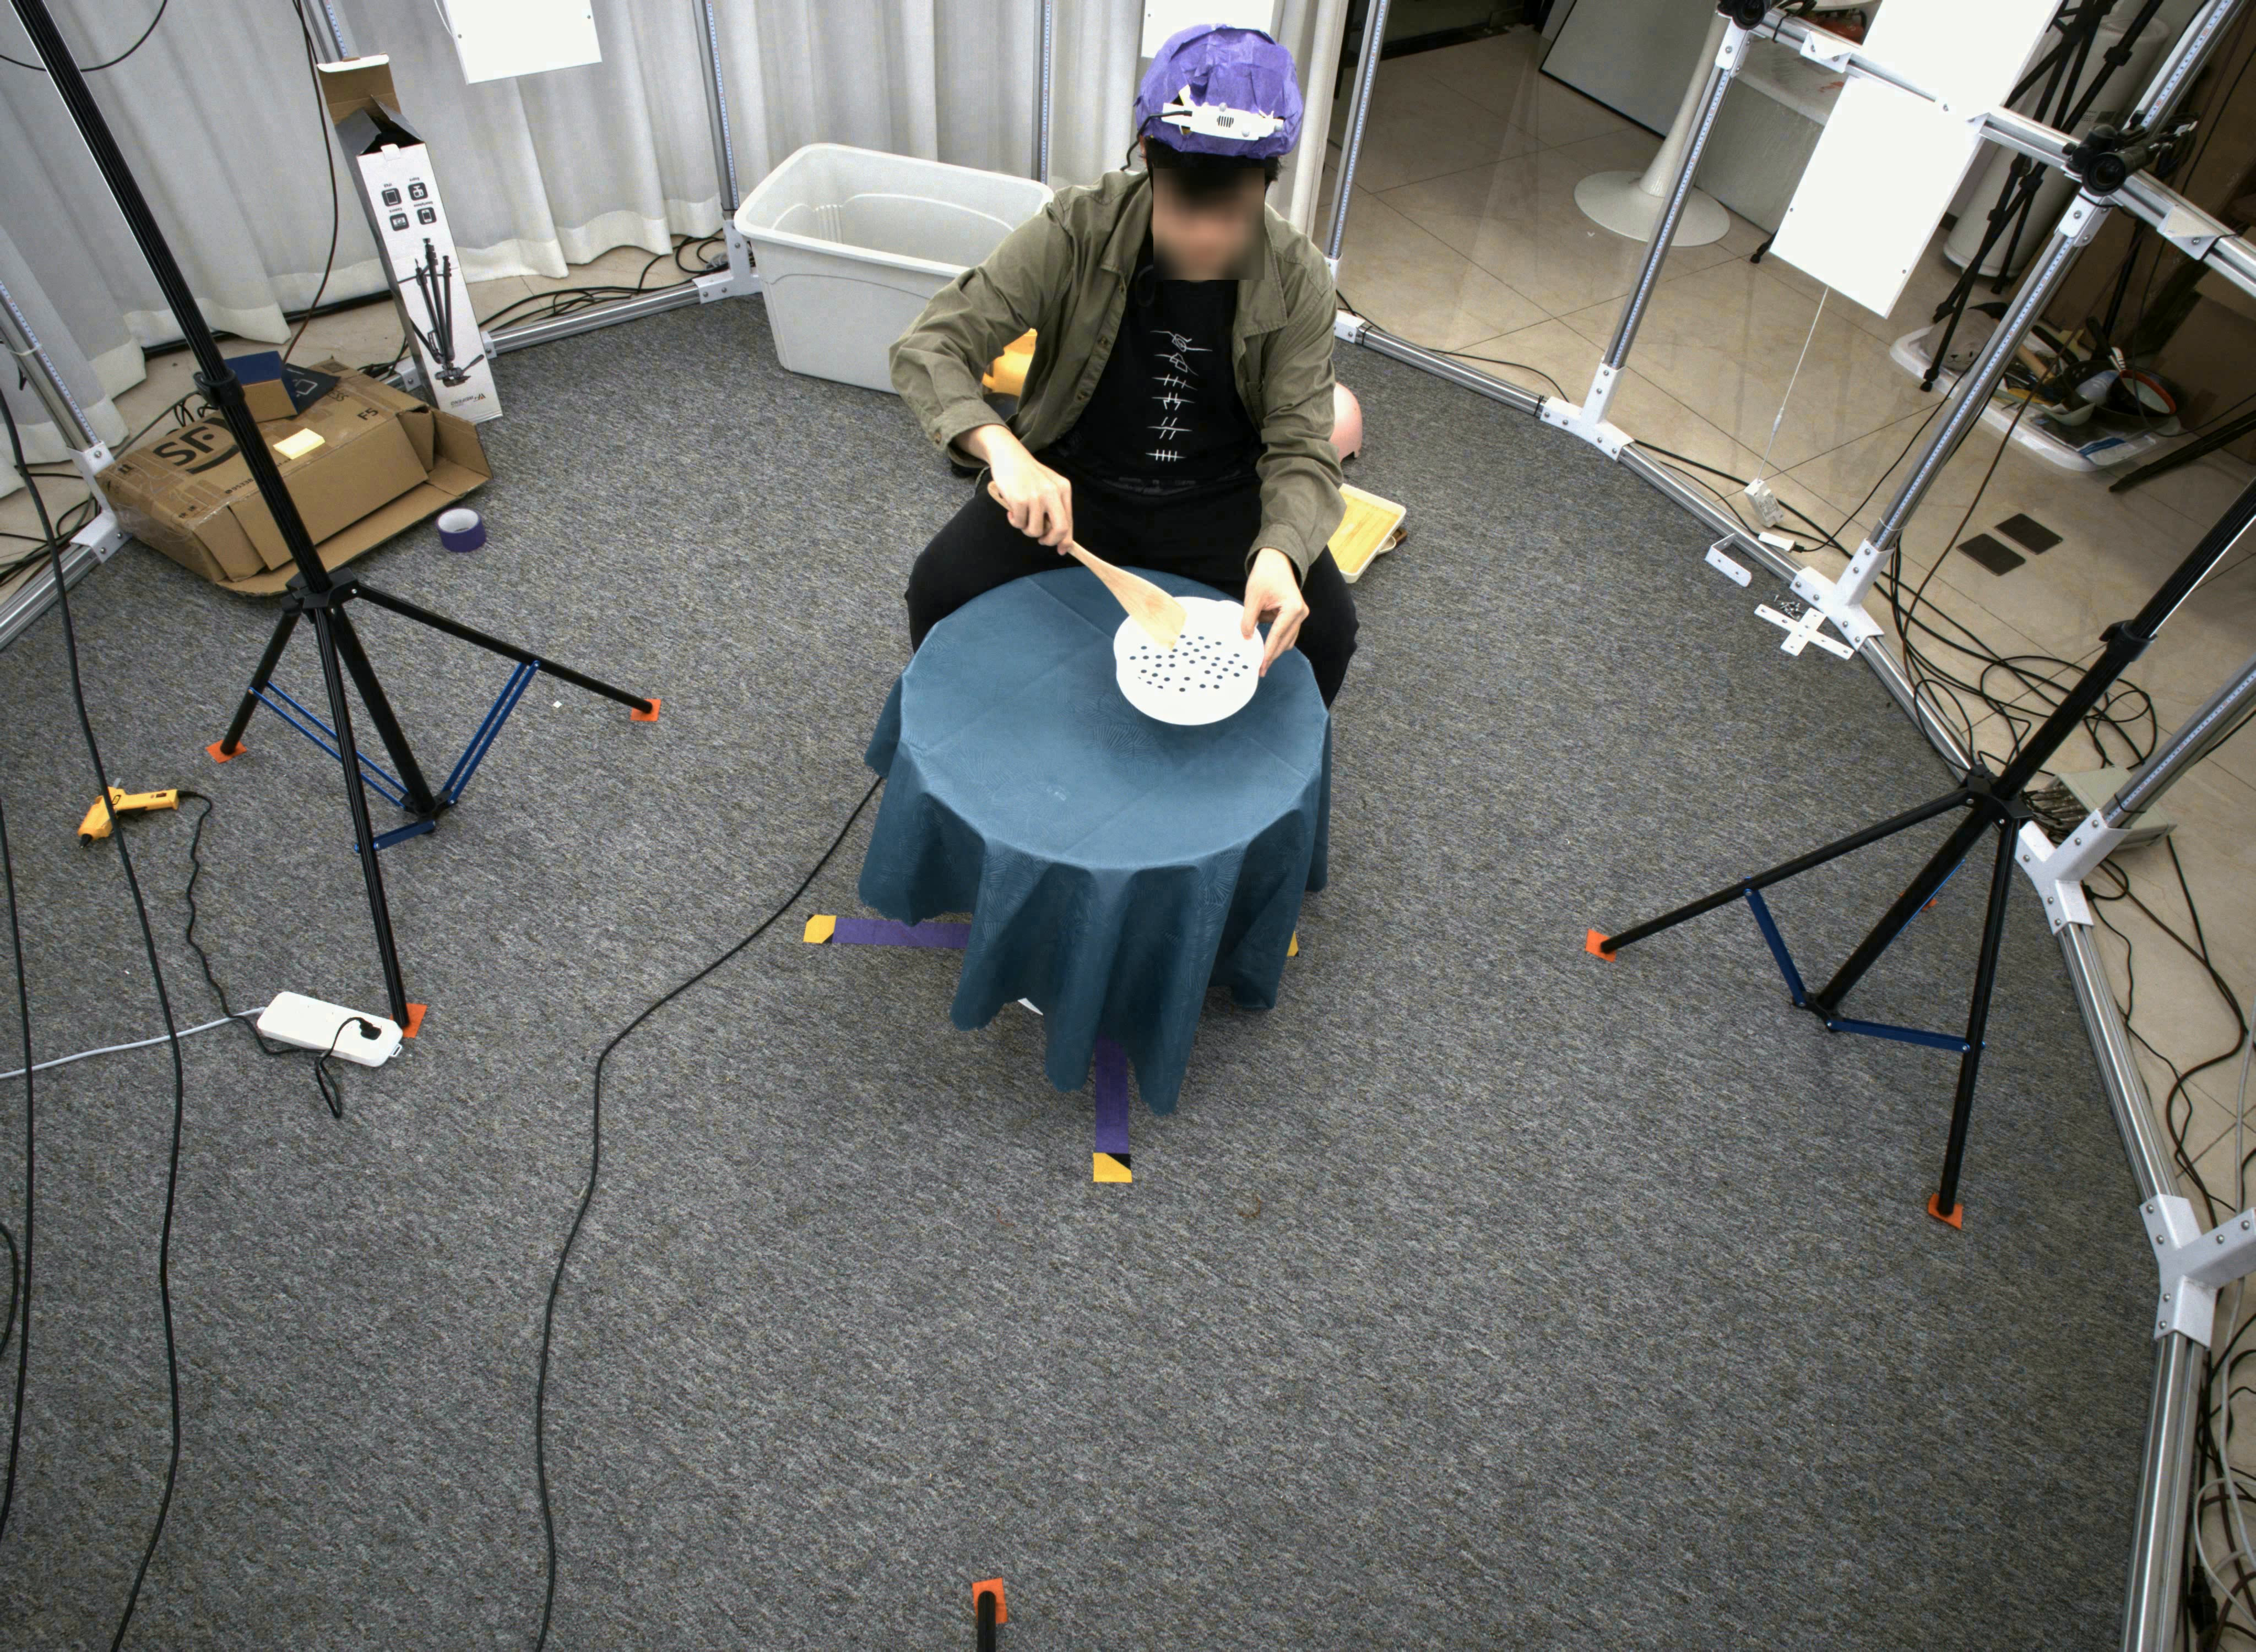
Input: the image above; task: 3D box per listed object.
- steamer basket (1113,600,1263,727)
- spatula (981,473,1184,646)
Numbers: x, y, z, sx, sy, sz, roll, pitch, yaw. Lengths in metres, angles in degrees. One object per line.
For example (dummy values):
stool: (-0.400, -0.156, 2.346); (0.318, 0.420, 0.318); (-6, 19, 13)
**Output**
steamer basket: (0.079, -0.220, 1.744); (0.205, 0.067, 0.232); (37, 56, 27)
spatula: (-0.060, -0.361, 1.707); (0.327, 0.078, 0.017); (36, 48, -4)
